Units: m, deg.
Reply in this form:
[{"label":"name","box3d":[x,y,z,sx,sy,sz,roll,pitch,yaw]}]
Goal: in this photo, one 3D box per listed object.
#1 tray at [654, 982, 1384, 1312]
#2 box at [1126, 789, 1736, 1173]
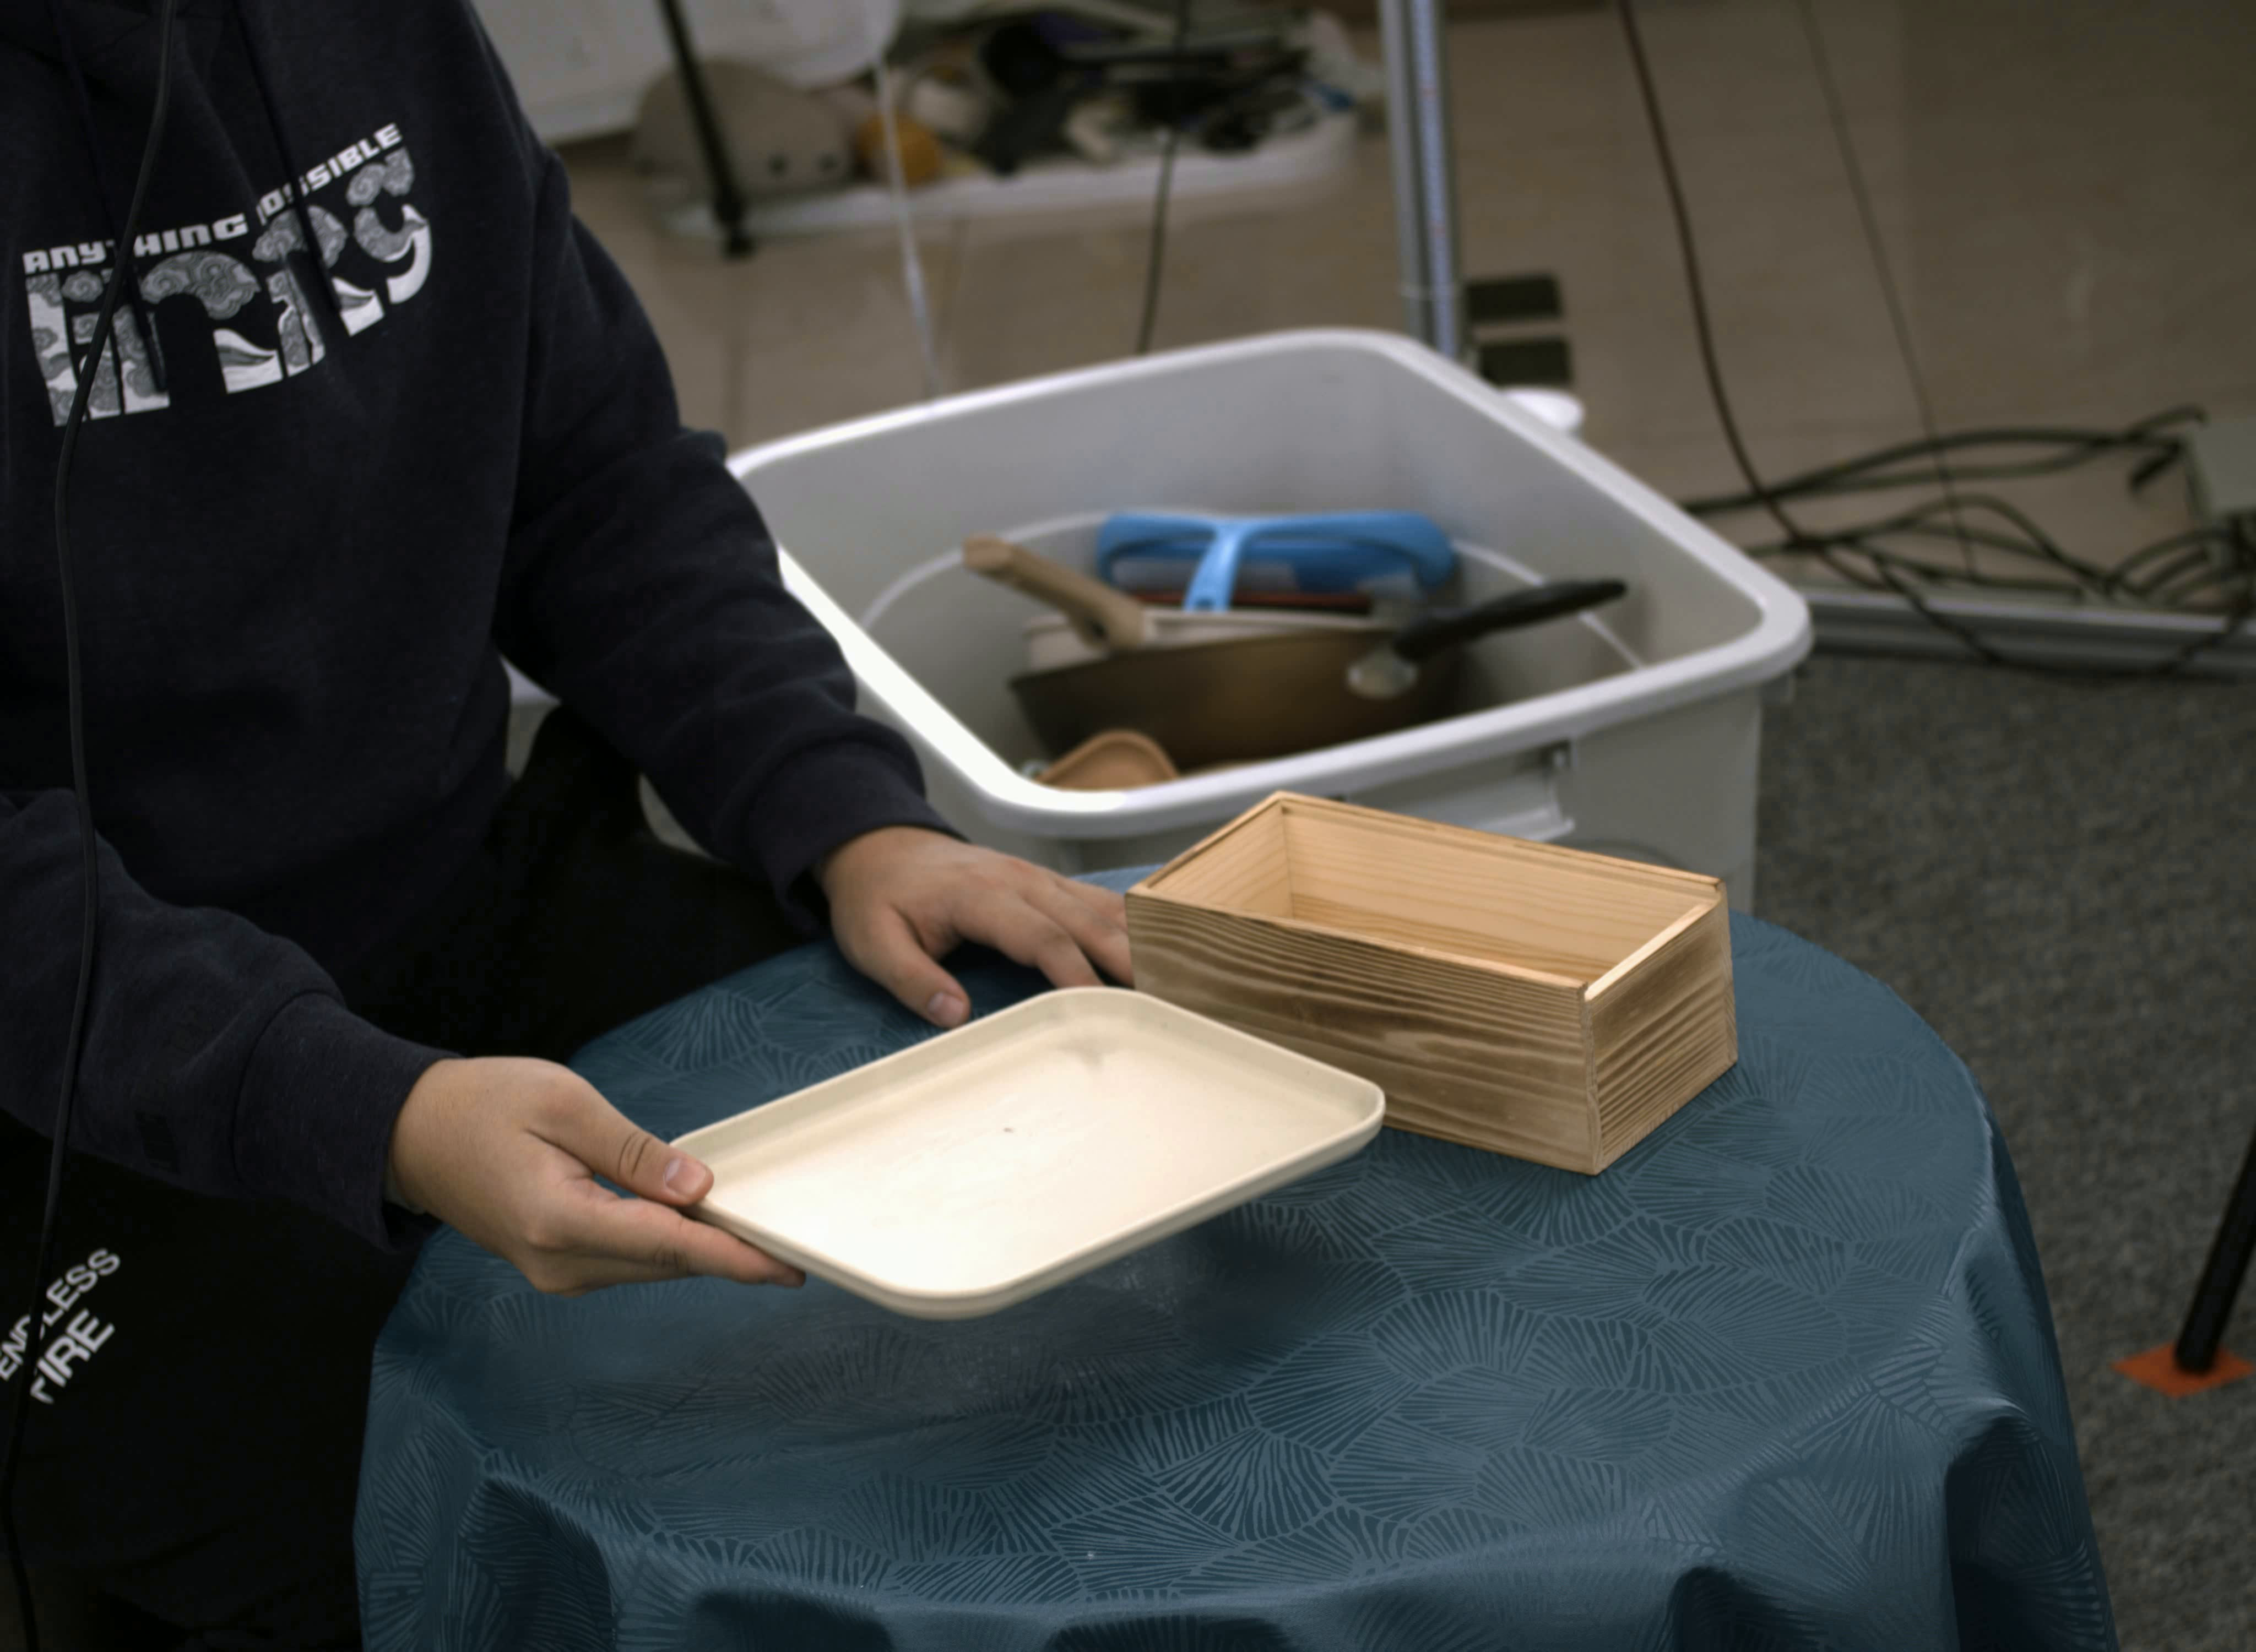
[{"label":"tray","box3d":[-0.038,0.114,2.034,0.170,0.018,0.238,19,29,41]},{"label":"box","box3d":[0.117,0.057,2.200,0.210,0.081,0.106,12,30,35]}]
